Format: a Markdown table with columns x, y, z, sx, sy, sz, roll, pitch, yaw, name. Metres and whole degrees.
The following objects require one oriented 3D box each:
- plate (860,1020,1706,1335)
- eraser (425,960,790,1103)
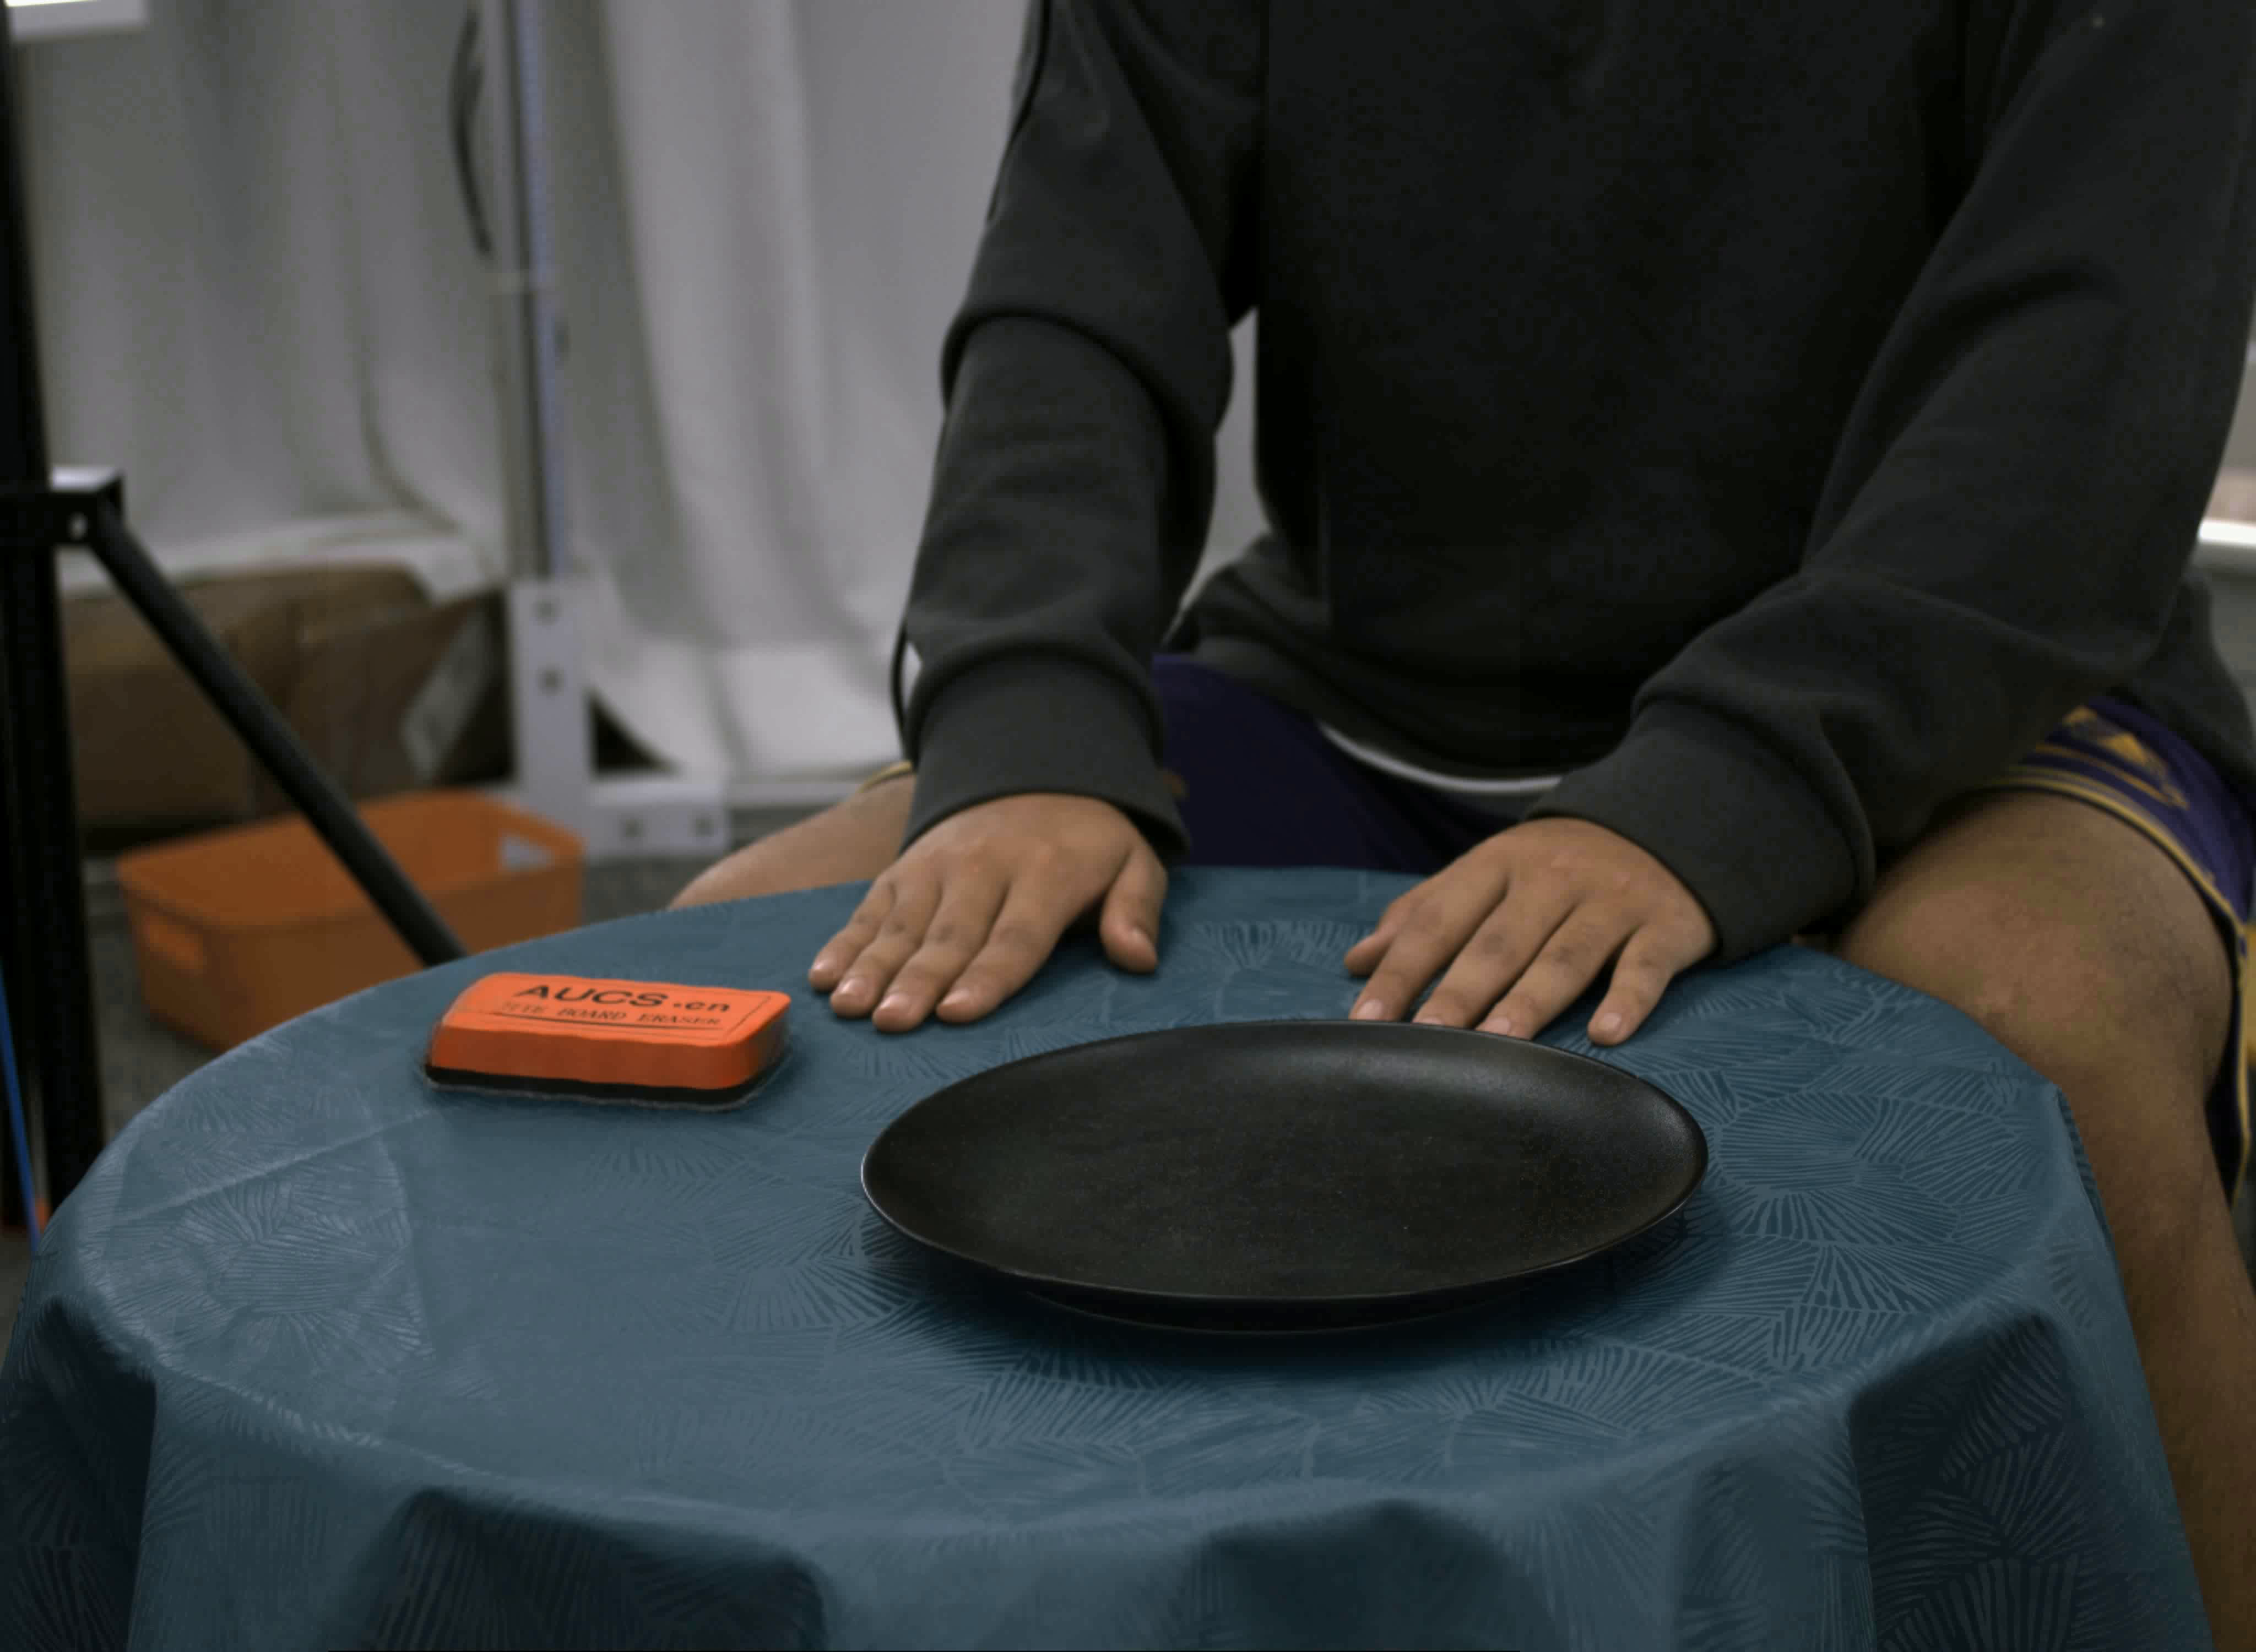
| x | y | z | sx | sy | sz | roll | pitch | yaw | name |
| --- | --- | --- | --- | --- | --- | --- | --- | --- | --- |
| 0.045 | 0.103 | 1.526 | 0.243 | 0.023 | 0.245 | -3 | 16 | -1 | plate |
| -0.164 | 0.065 | 1.686 | 0.109 | 0.023 | 0.058 | 5 | 18 | 20 | eraser |
